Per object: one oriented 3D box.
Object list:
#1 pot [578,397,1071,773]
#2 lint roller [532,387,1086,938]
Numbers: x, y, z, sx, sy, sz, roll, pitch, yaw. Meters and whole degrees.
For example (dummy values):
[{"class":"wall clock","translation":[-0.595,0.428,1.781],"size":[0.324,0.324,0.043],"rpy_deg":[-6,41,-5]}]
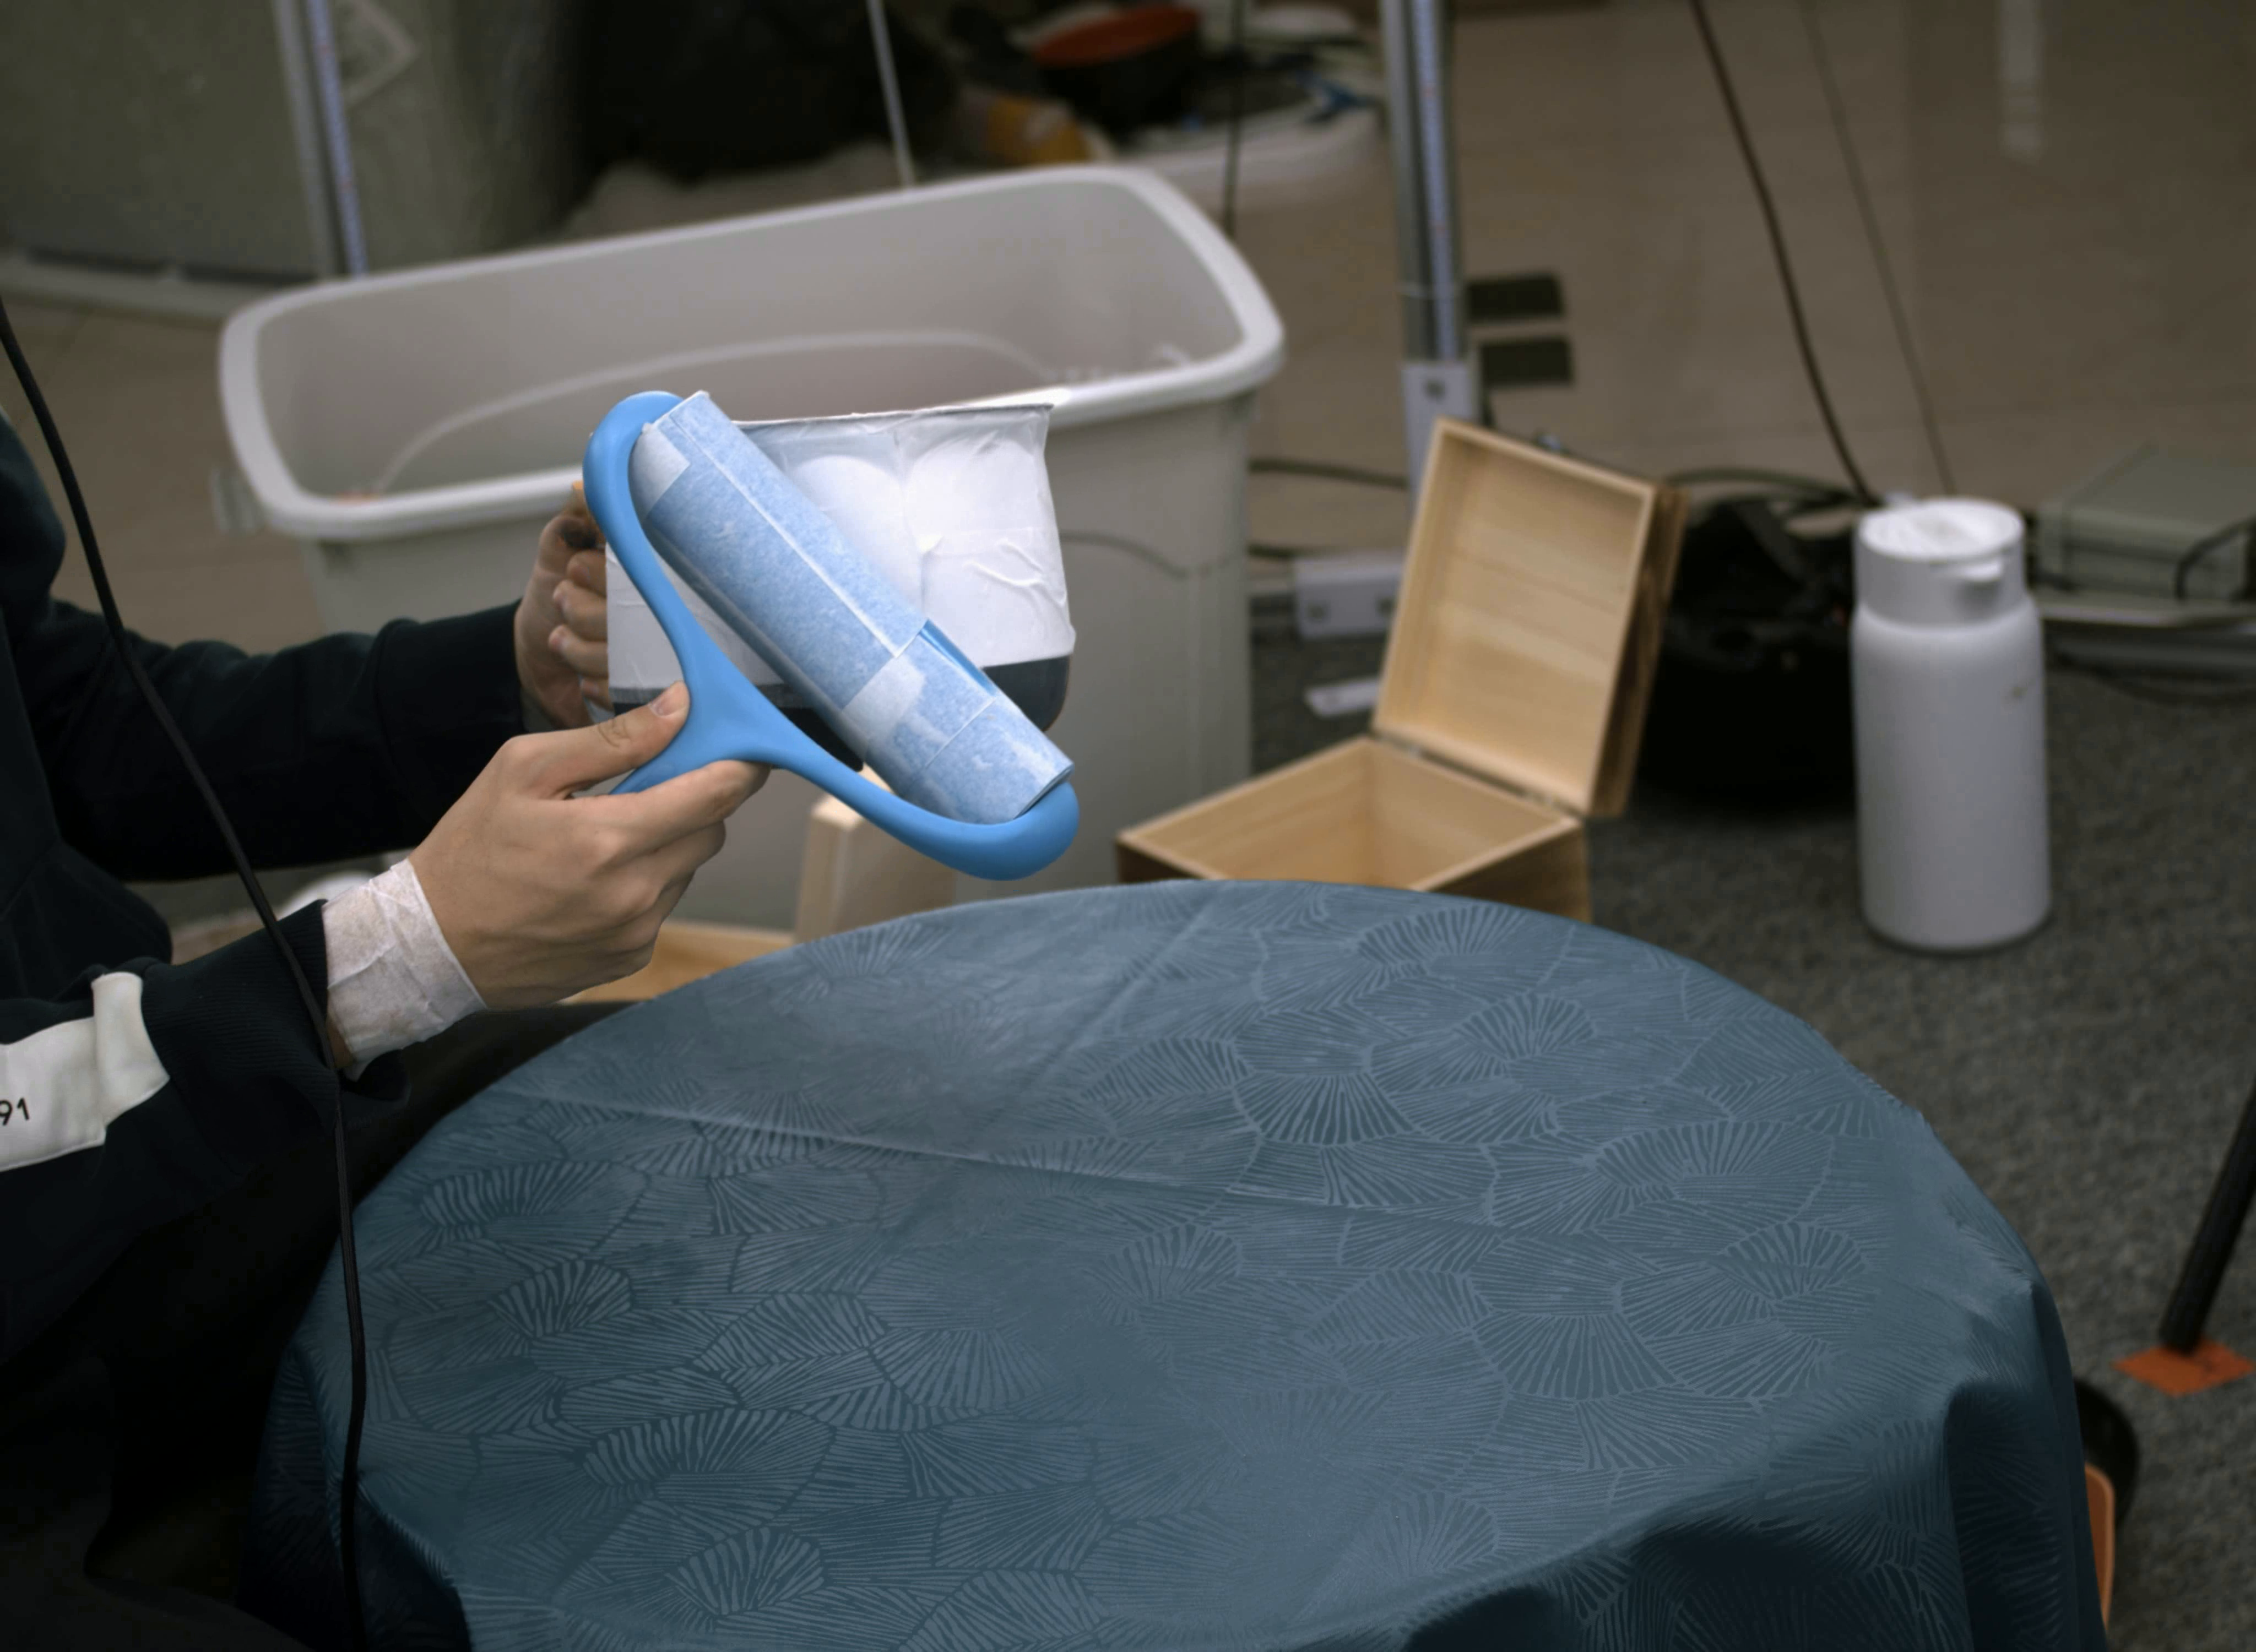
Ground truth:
[{"class":"pot","translation":[-0.131,-0.095,2.165],"size":[0.233,0.137,0.178],"rpy_deg":[3,8,45]},{"class":"lint roller","translation":[-0.142,-0.031,2.017],"size":[0.179,0.229,0.068],"rpy_deg":[-48,0,-15]}]
